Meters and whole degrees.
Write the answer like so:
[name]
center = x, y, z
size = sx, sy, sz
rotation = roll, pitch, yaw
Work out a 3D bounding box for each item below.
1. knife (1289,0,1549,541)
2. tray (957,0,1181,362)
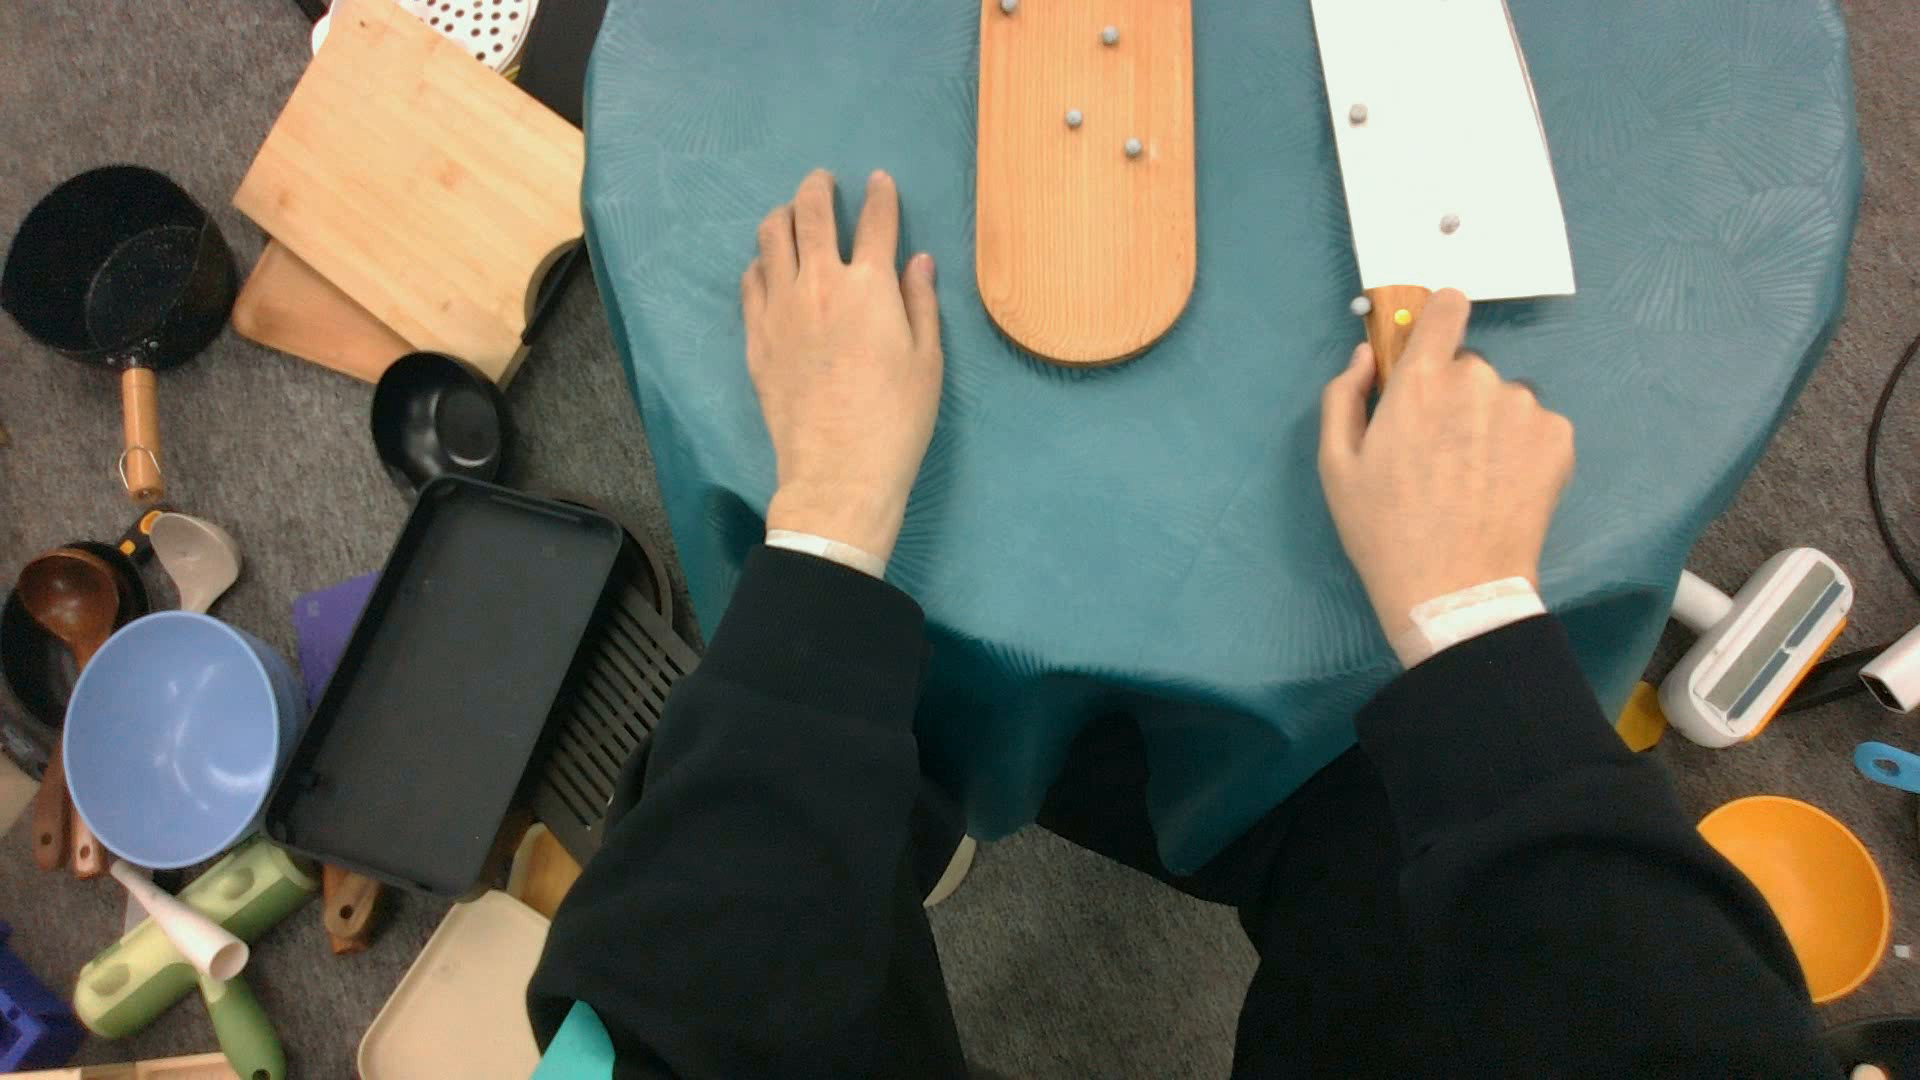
[knife]
center = 0.210, -0.144, 0.616
size = 0.093, 0.021, 0.306
rotation = -4, 67, 2
[tray]
center = 0.051, -0.190, 0.648
size = 0.101, 0.020, 0.232
rotation = 0, 74, 5
